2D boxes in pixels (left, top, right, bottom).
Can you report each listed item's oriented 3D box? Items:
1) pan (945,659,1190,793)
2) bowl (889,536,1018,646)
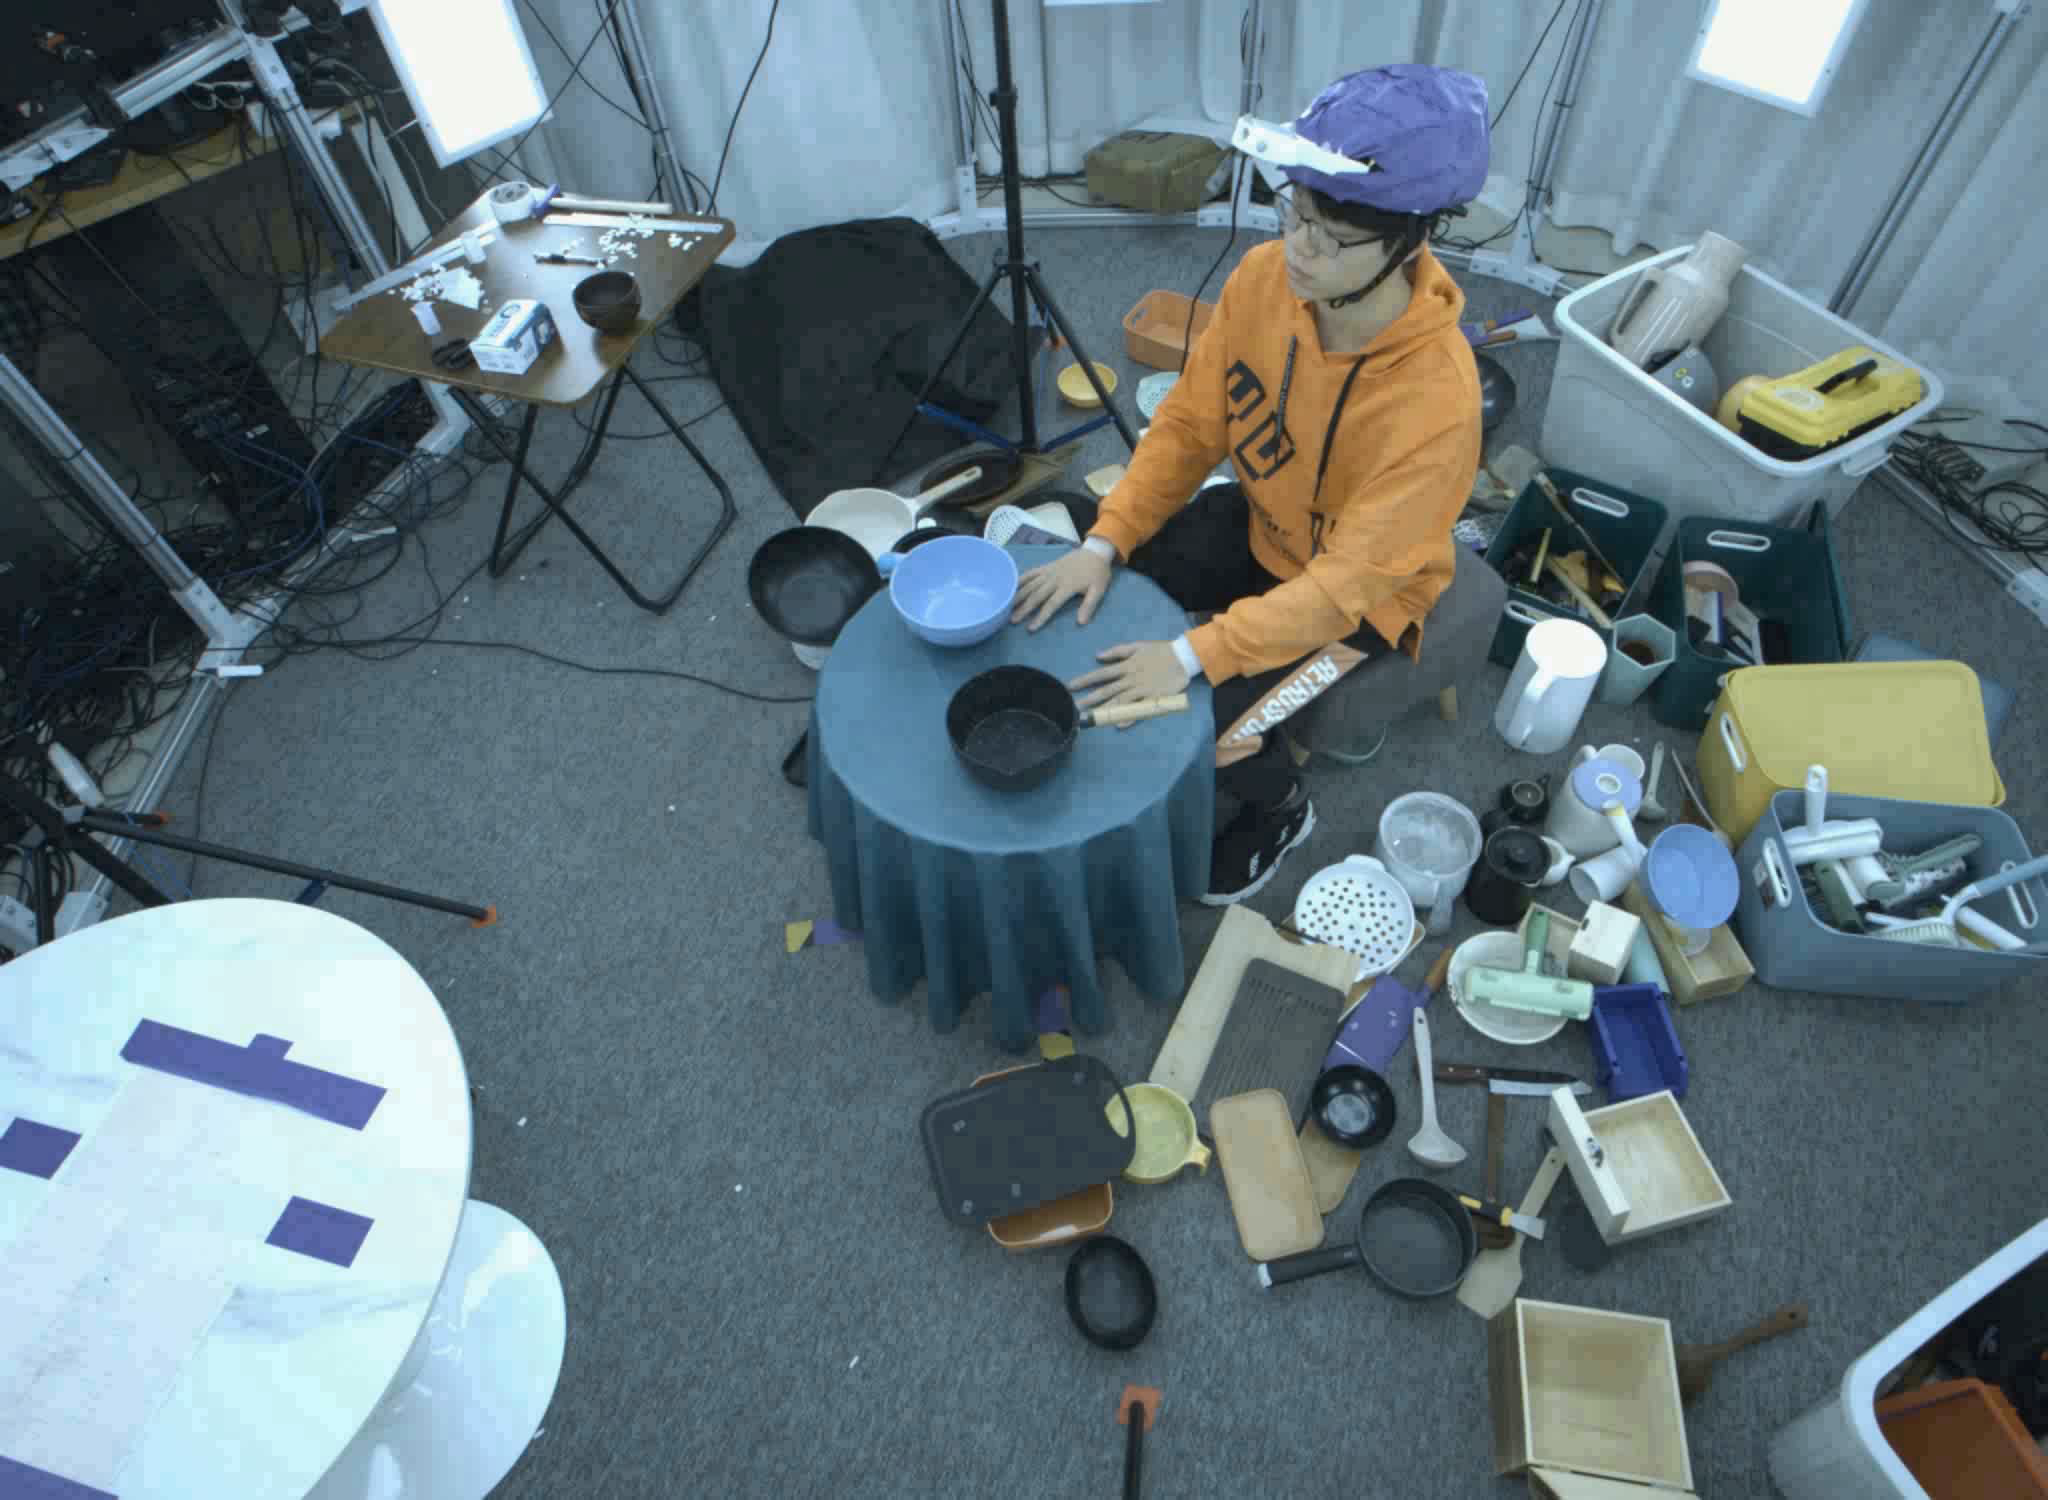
[{"bbox_3d":[0.062,-0.035,1.743,0.343,0.109,0.205,-4,54,1],"label":"pan"},{"bbox_3d":[-0.105,-0.231,1.895,0.196,0.096,0.194,-1,54,3],"label":"bowl"}]
